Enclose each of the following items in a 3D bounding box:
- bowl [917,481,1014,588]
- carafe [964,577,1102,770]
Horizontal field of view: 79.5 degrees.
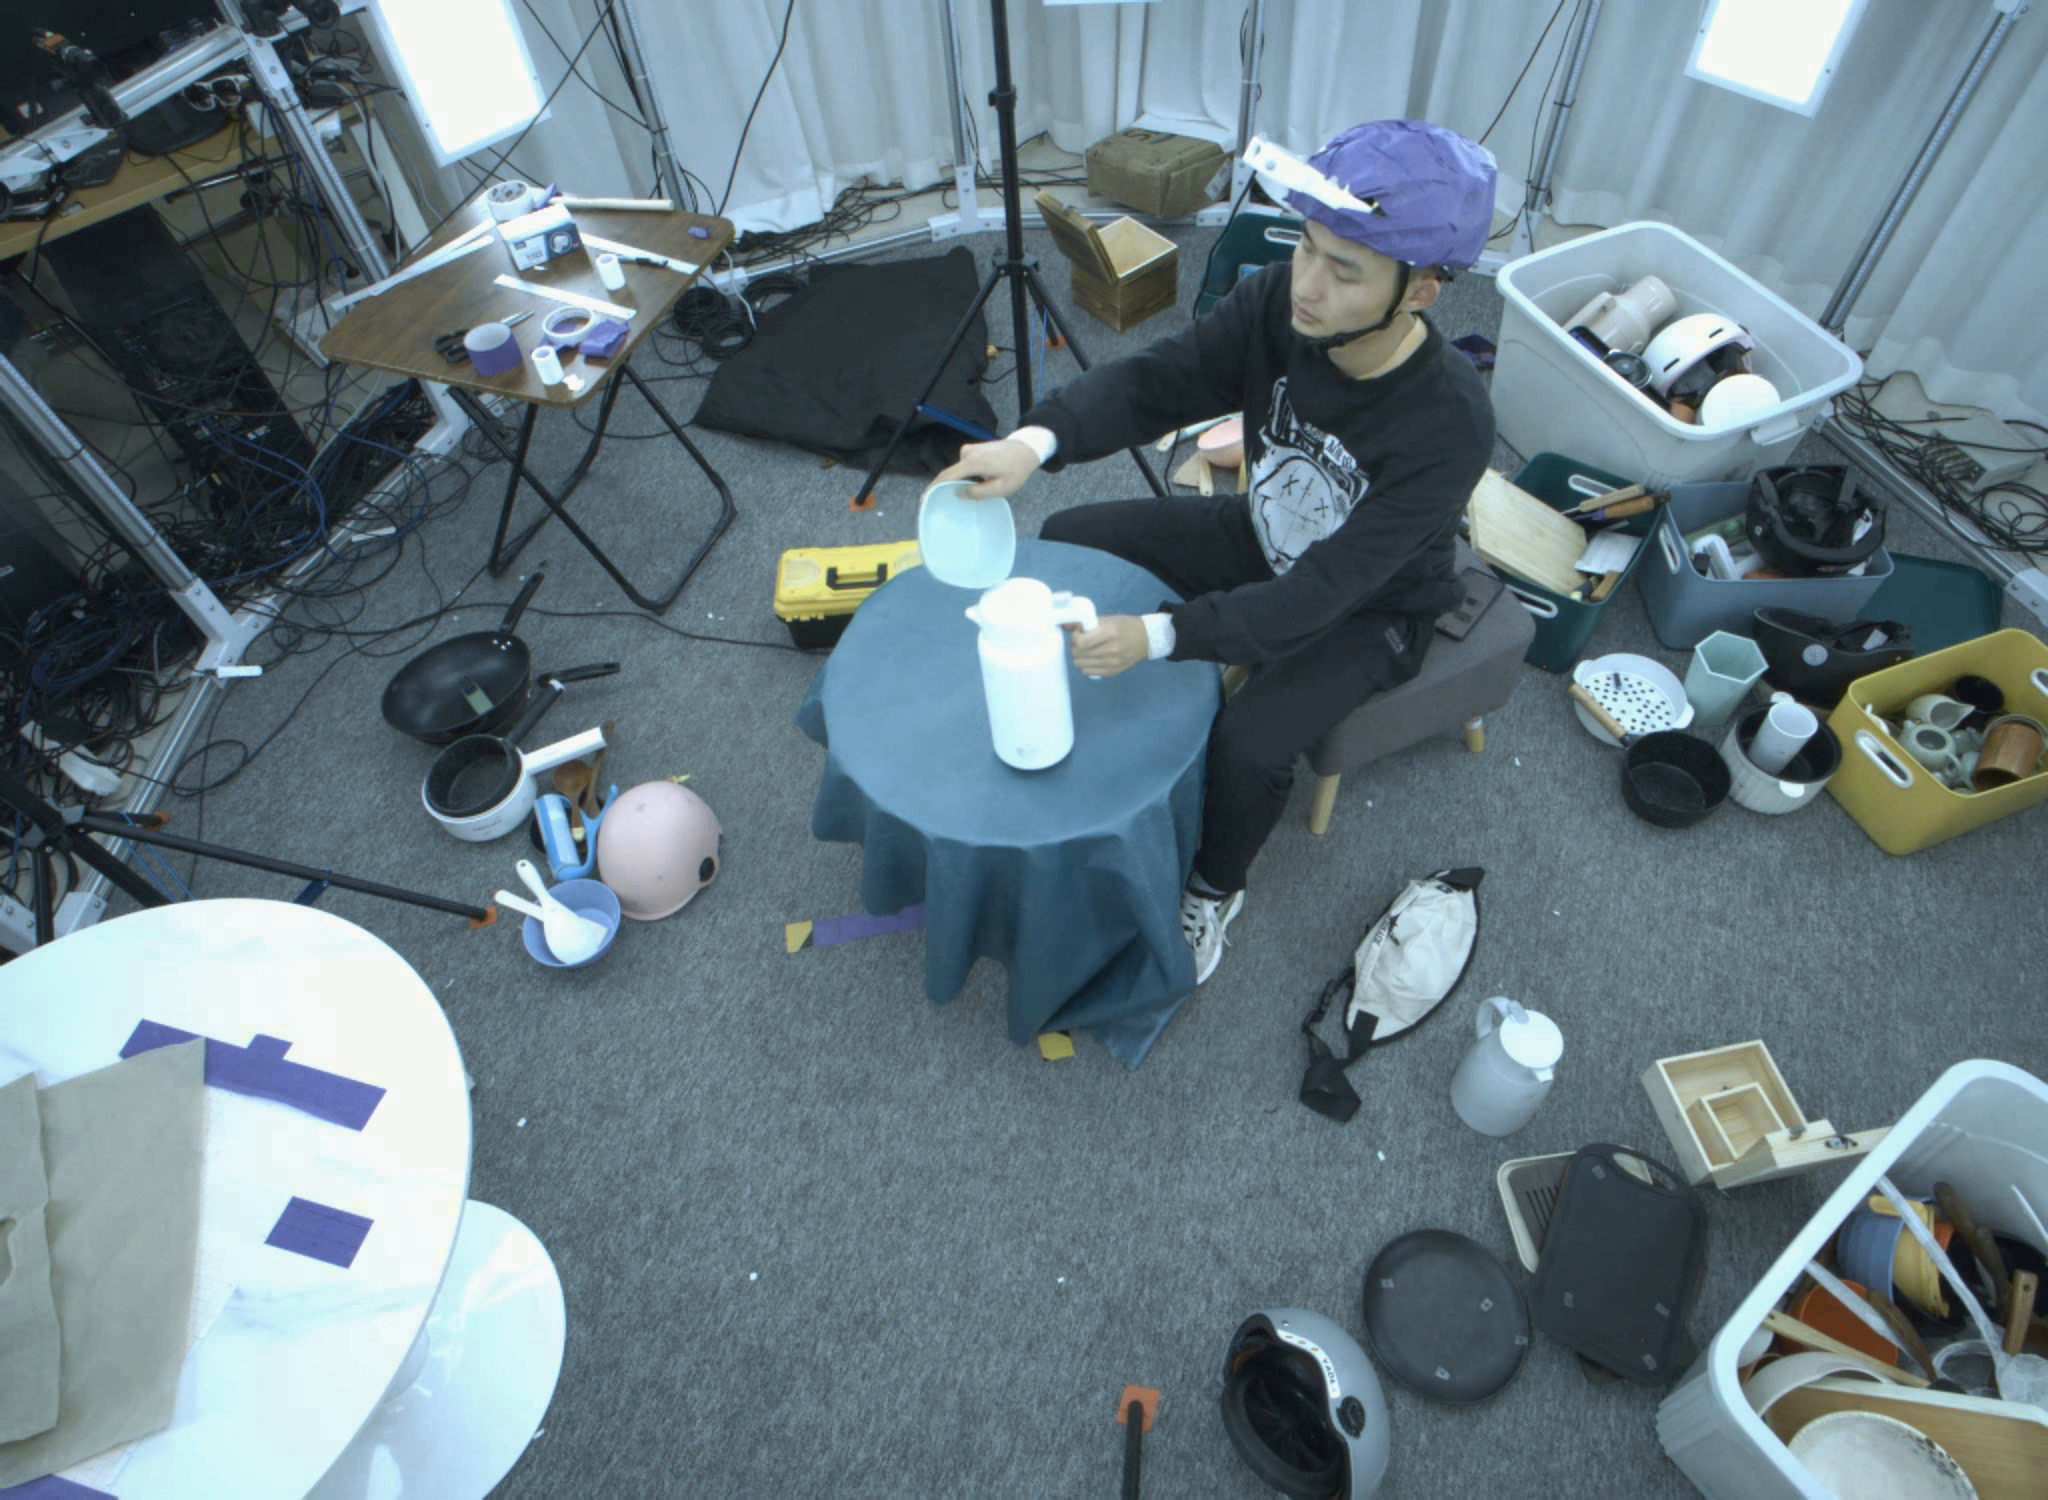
[{"bbox_3d":[-0.087,-0.275,1.585,0.152,0.153,0.057,-47,23,-26],"label":"bowl"},{"bbox_3d":[0.019,-0.105,1.687,0.173,0.272,0.122,-9,44,-1],"label":"carafe"}]
